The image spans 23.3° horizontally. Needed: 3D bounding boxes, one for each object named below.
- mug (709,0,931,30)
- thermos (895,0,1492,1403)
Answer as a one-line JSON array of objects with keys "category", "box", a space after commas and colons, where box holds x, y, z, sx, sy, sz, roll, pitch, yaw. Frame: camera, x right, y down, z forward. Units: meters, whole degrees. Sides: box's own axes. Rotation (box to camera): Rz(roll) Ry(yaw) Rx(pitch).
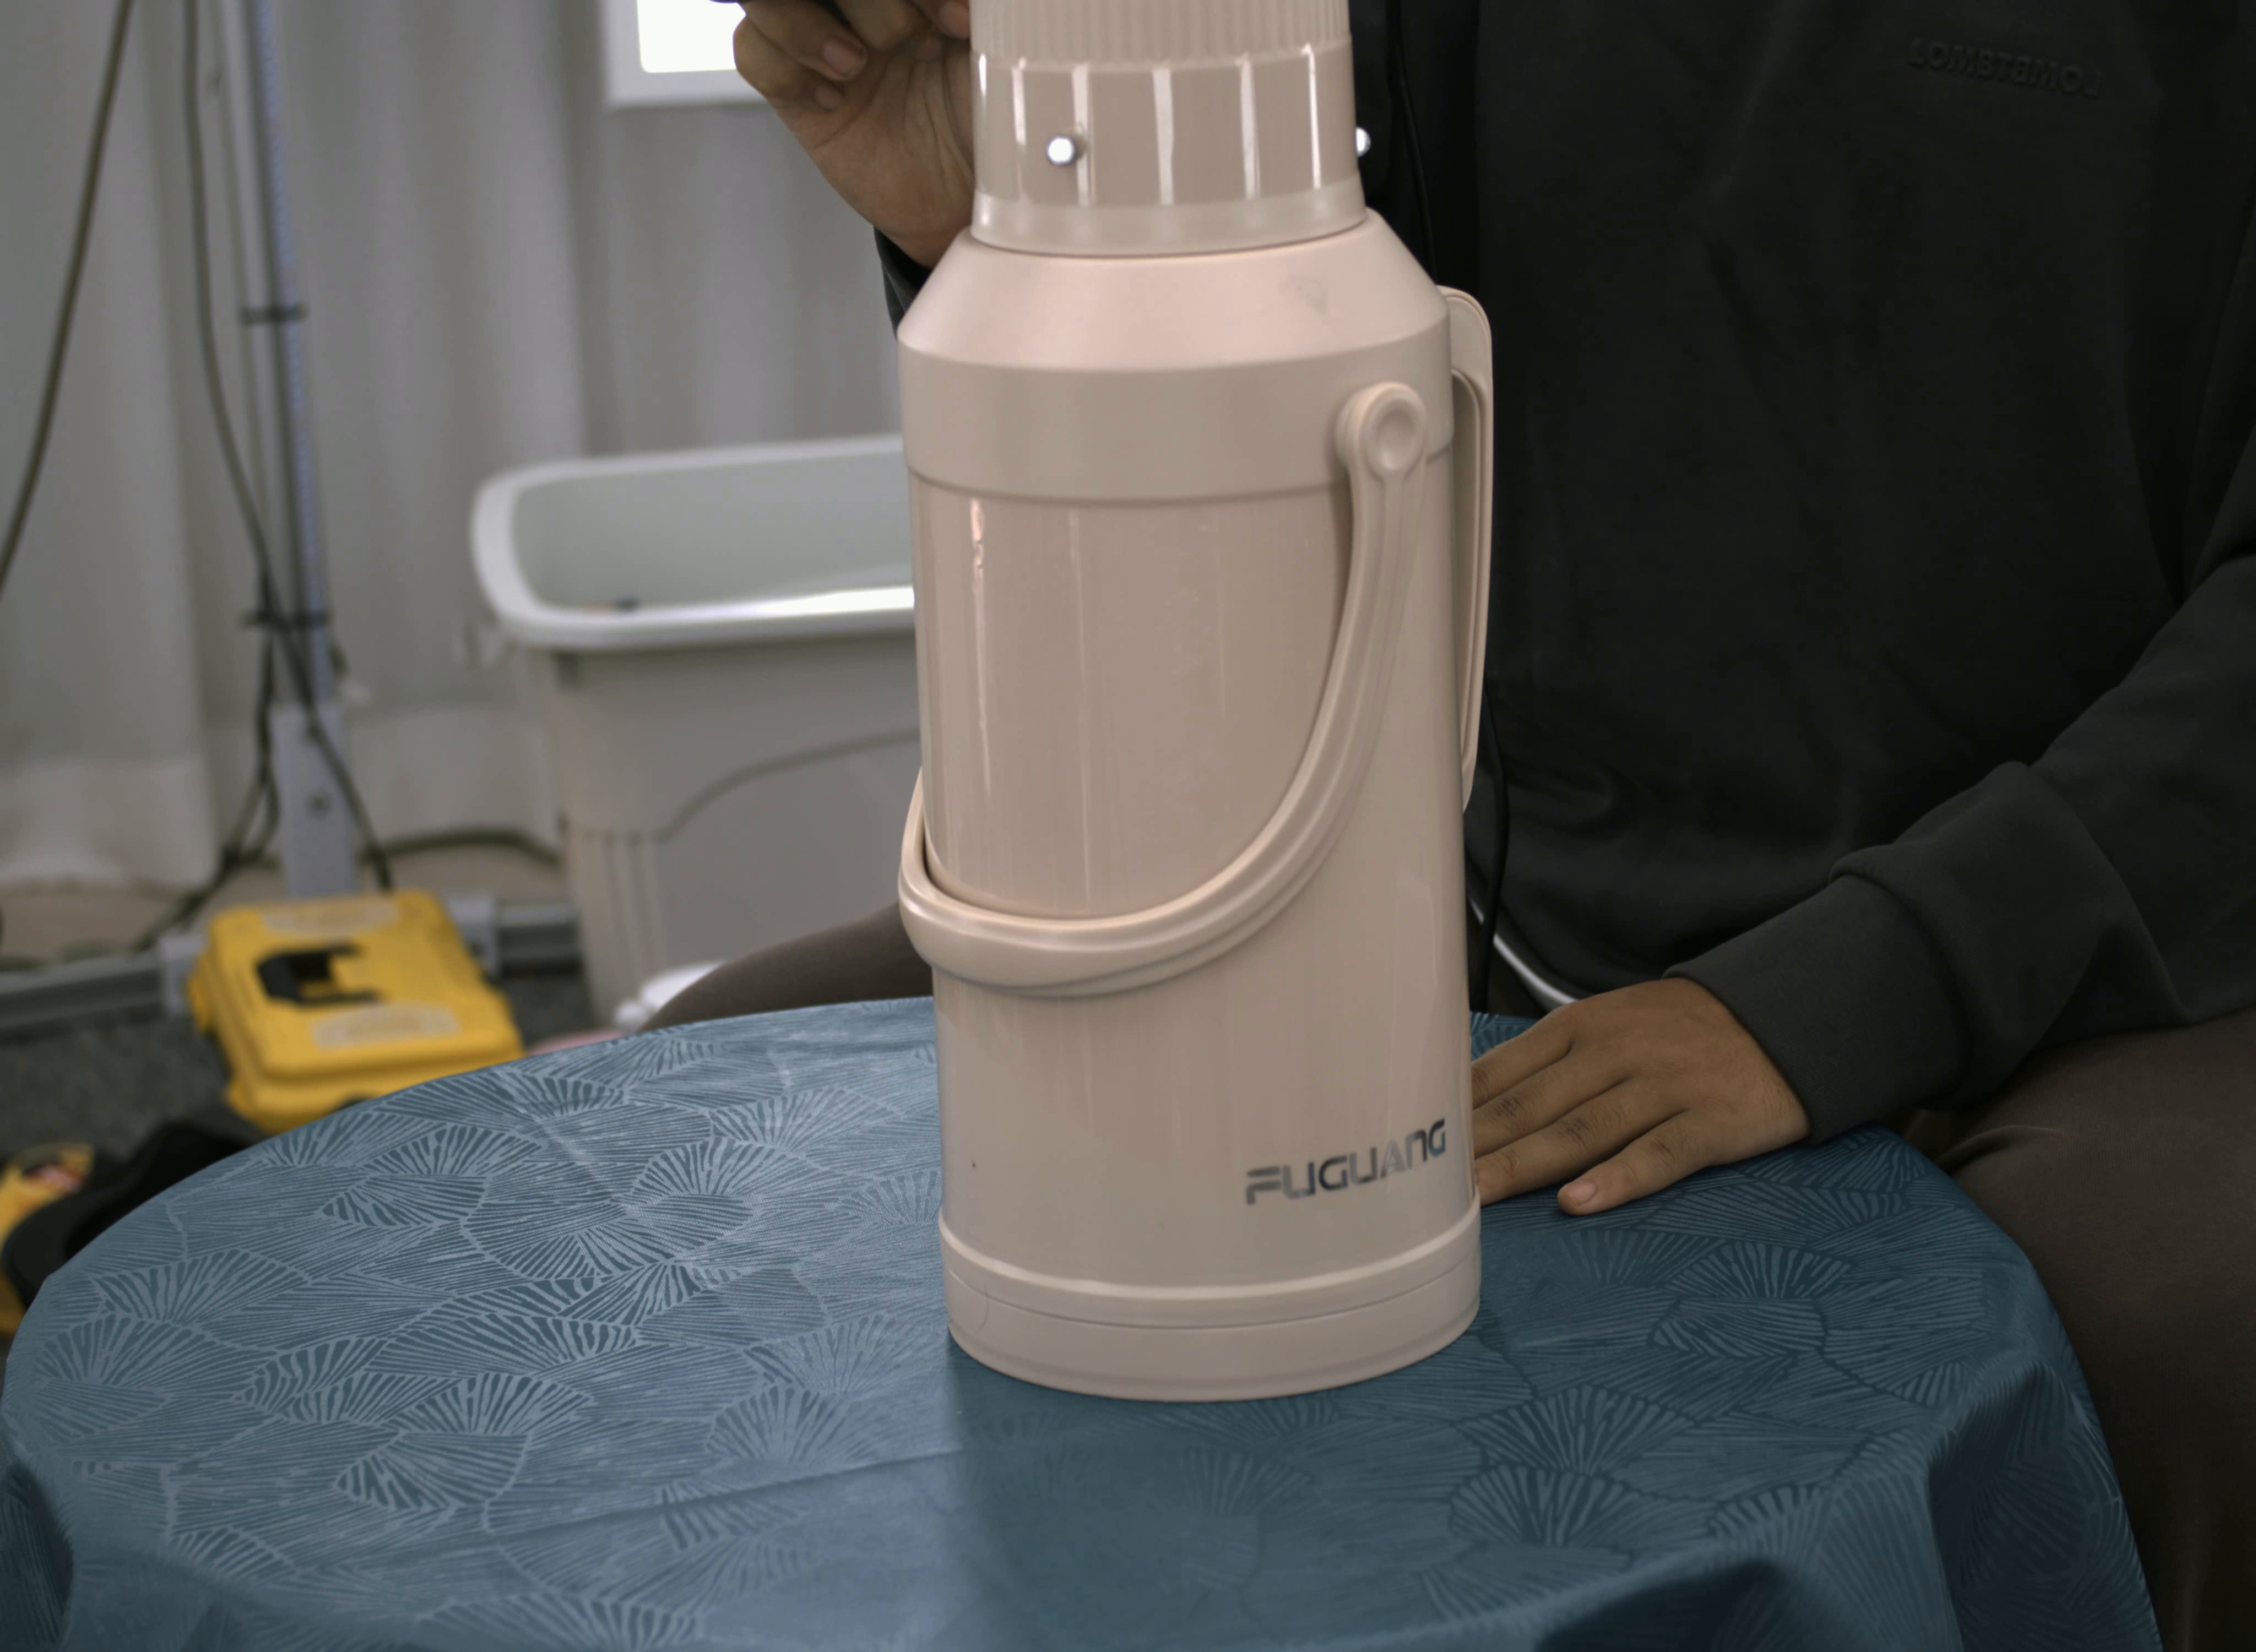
[{"category": "mug", "box": [-0.092, -0.278, 1.555, 0.089, 0.122, 0.095, -24, 36, 20]}, {"category": "thermos", "box": [0.027, -0.053, 1.575, 0.206, 0.405, 0.176, -15, 18, -41]}]
